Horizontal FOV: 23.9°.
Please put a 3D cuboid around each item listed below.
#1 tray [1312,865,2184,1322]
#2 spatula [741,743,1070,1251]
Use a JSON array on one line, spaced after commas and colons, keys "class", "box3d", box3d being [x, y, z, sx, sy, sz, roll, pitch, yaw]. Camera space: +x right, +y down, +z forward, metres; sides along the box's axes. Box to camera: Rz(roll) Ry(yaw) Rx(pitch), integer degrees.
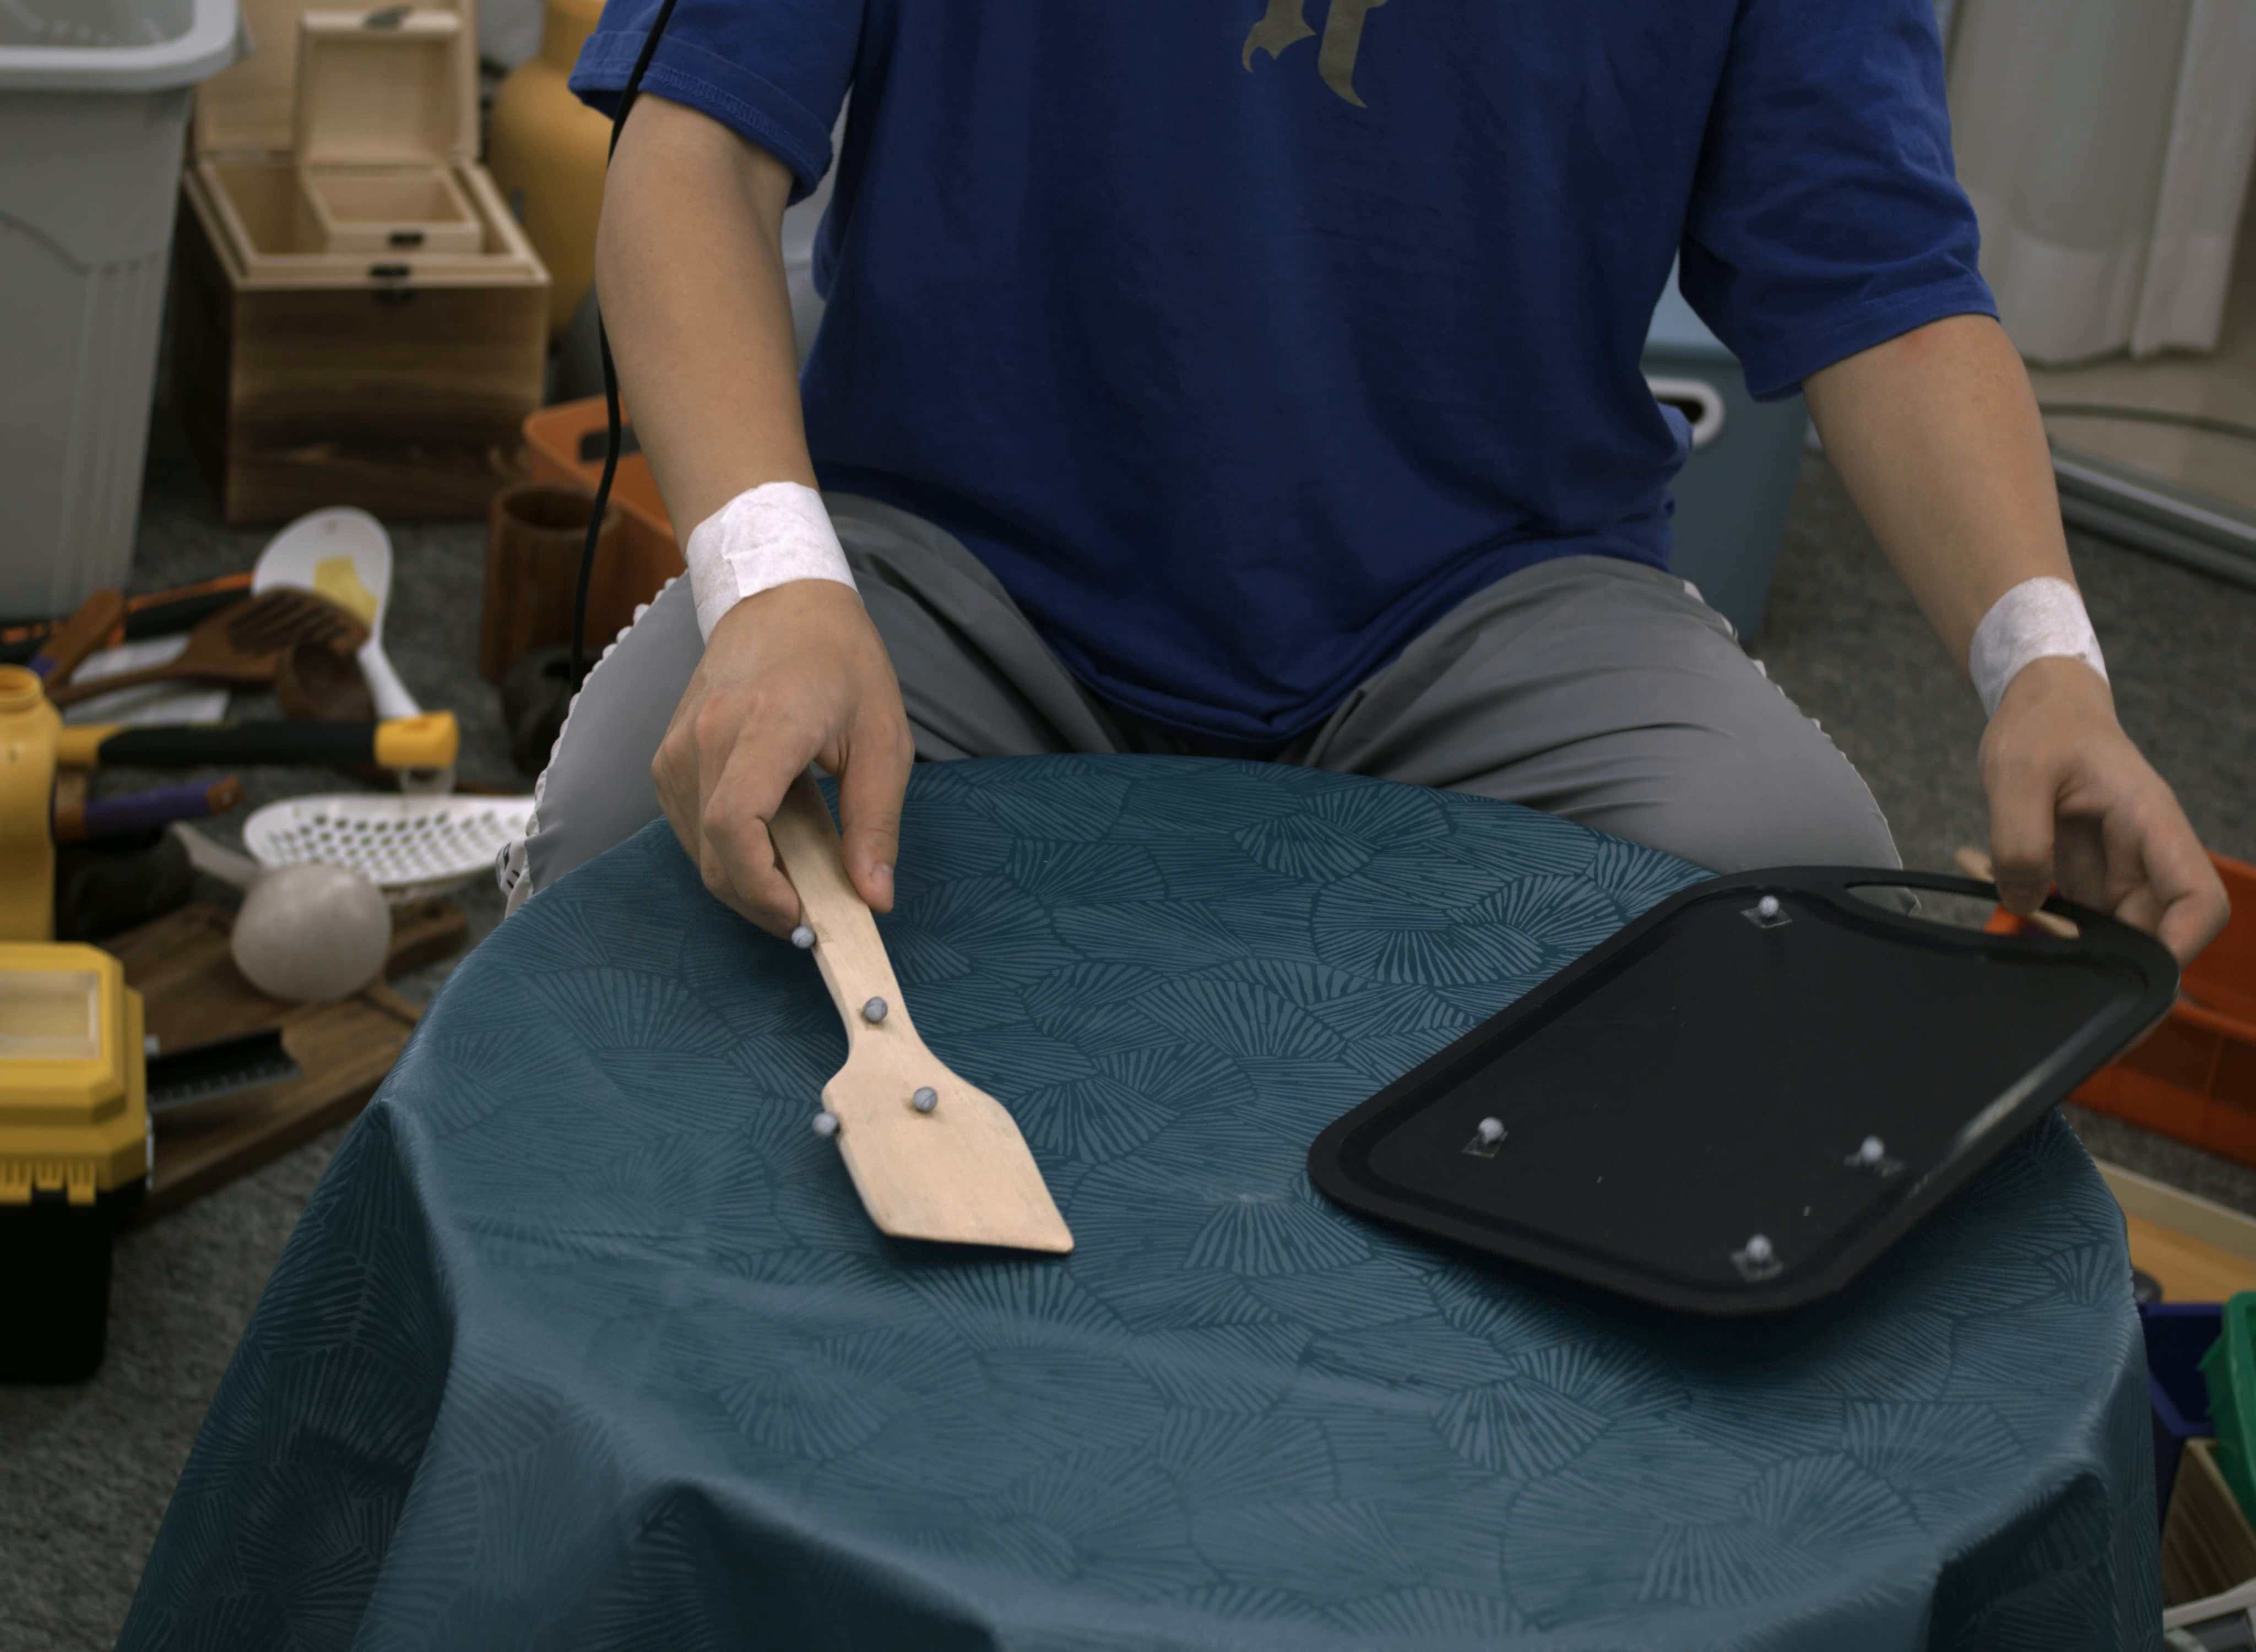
[{"class": "tray", "box3d": [0.225, 0.083, 1.873, 0.212, 0.010, 0.324, 16, 31, 36]}, {"class": "spatula", "box3d": [-0.092, 0.055, 1.863, 0.072, 0.010, 0.296, 6, 33, -24]}]
